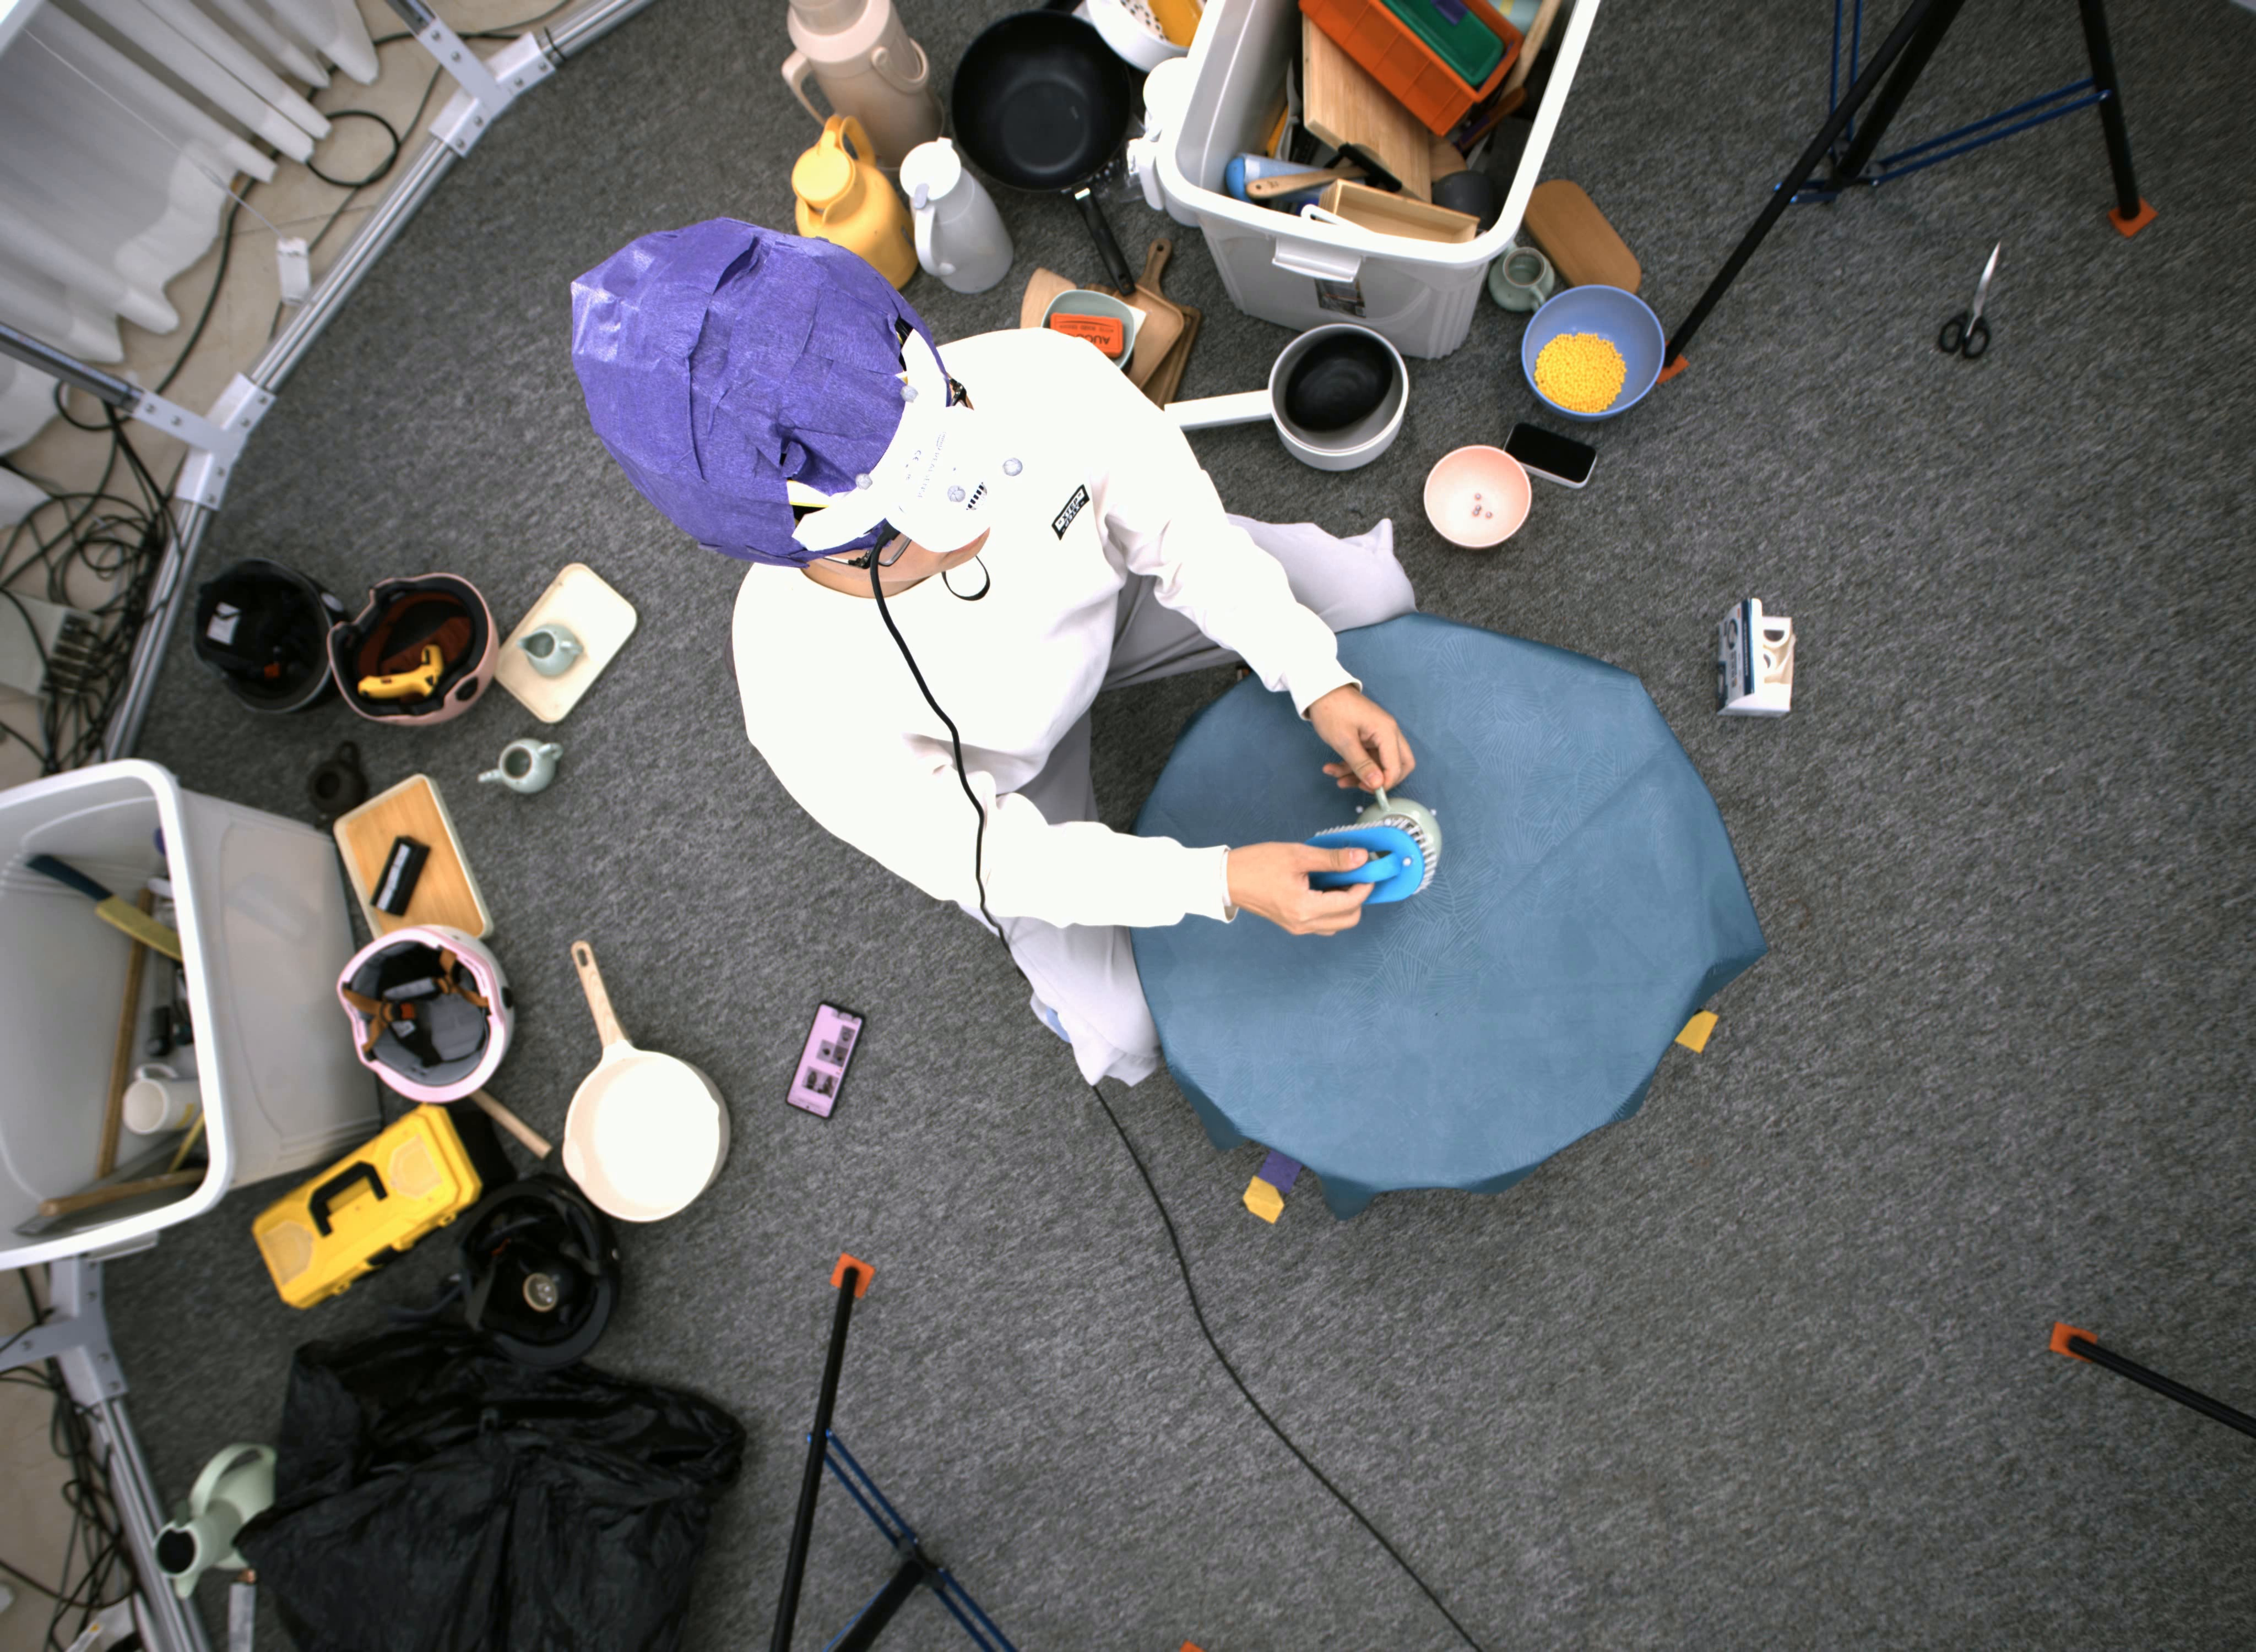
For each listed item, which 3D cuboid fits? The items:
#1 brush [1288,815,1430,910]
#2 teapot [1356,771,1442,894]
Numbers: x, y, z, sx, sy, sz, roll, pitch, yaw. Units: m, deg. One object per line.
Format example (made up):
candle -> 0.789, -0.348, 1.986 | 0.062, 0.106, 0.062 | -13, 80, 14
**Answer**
brush -> 0.214, 0.040, 1.318 | 0.143, 0.062, 0.085 | -7, 105, 38
teapot -> 0.271, 0.005, 1.401 | 0.092, 0.060, 0.128 | -15, 89, 13
